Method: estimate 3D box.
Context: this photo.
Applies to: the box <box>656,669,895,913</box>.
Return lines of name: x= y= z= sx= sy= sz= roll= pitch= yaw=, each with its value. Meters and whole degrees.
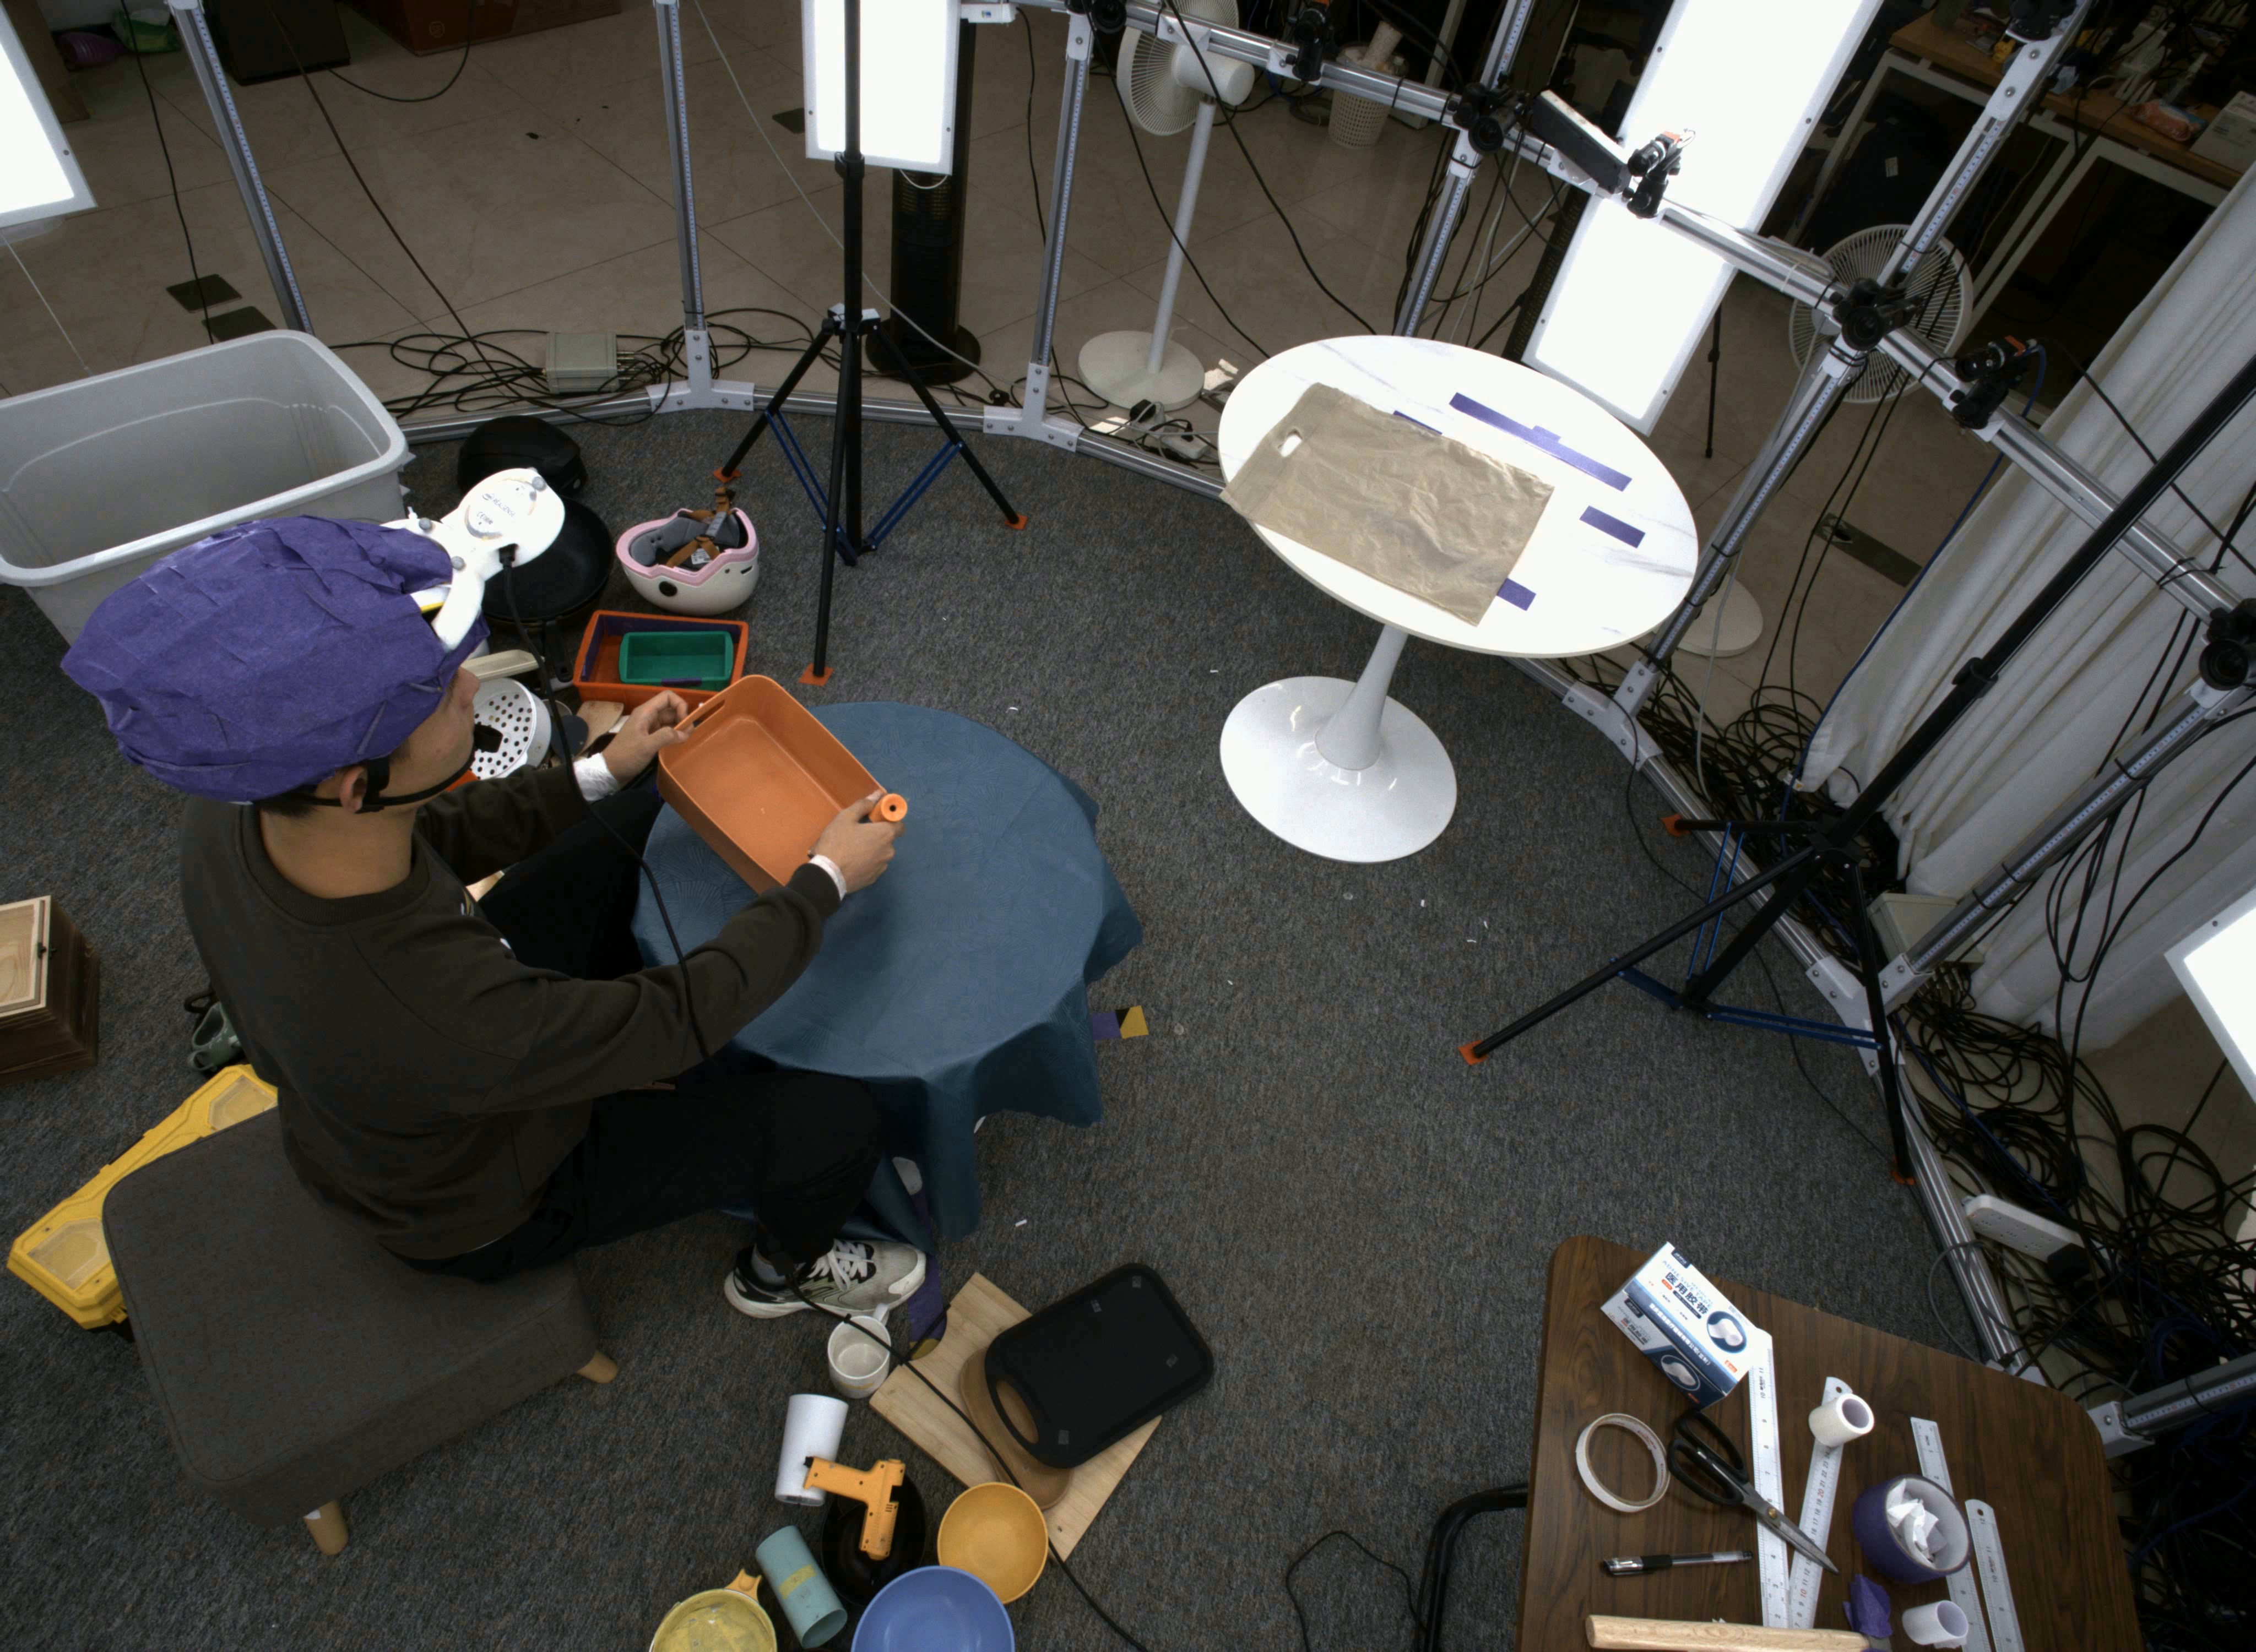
box: x=-0.449 y=-0.036 z=1.625 sx=0.276 sy=0.101 sz=0.199 roll=46 pitch=56 yaw=-9

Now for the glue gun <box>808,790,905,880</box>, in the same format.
glue gun: x=-0.322 y=0.001 z=1.581 sx=0.041 sy=0.116 sz=0.140 roll=49 pitch=66 yaw=-10
